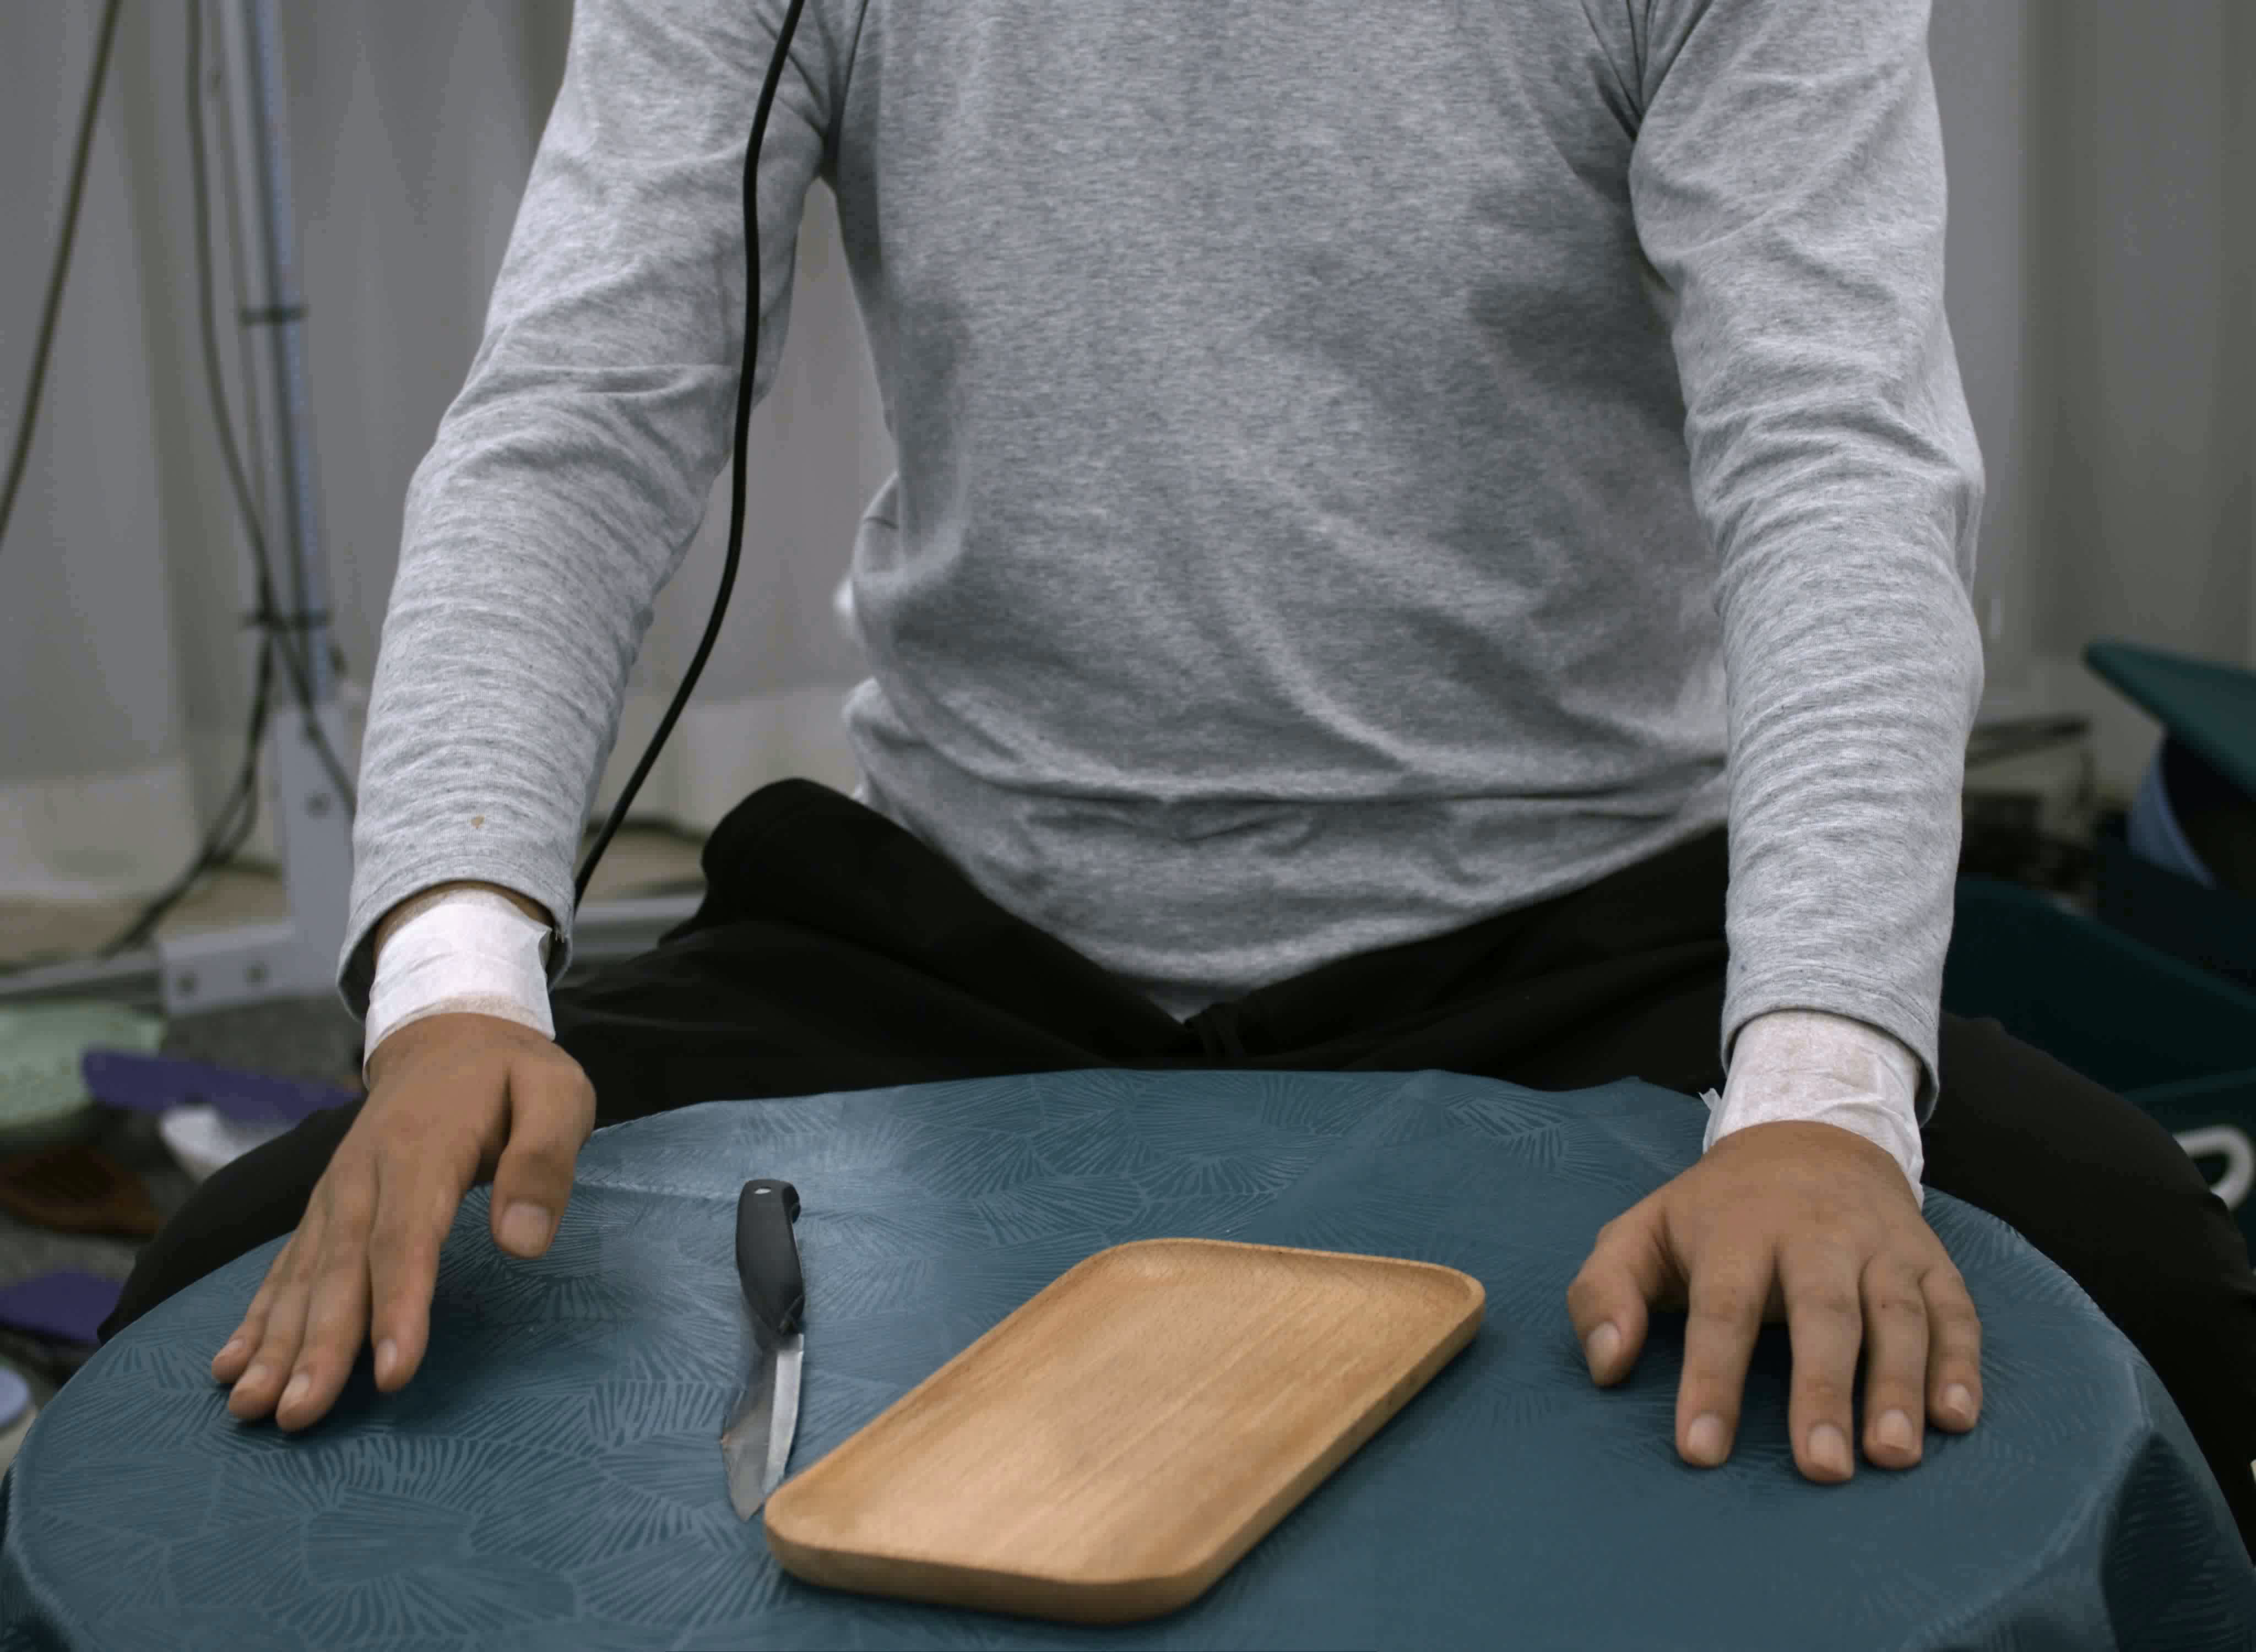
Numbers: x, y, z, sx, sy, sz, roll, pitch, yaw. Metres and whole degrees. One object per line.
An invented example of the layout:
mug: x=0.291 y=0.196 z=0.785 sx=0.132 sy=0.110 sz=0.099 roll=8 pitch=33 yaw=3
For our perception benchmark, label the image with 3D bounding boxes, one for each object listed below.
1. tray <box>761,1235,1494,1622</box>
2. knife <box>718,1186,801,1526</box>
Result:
tray: x=0.005 y=0.163 z=1.504 sx=0.131 sy=0.023 sz=0.251 roll=7 pitch=17 yaw=24
knife: x=-0.106 y=0.152 z=1.576 sx=0.024 sy=0.016 sz=0.240 roll=-4 pitch=17 yaw=-2
